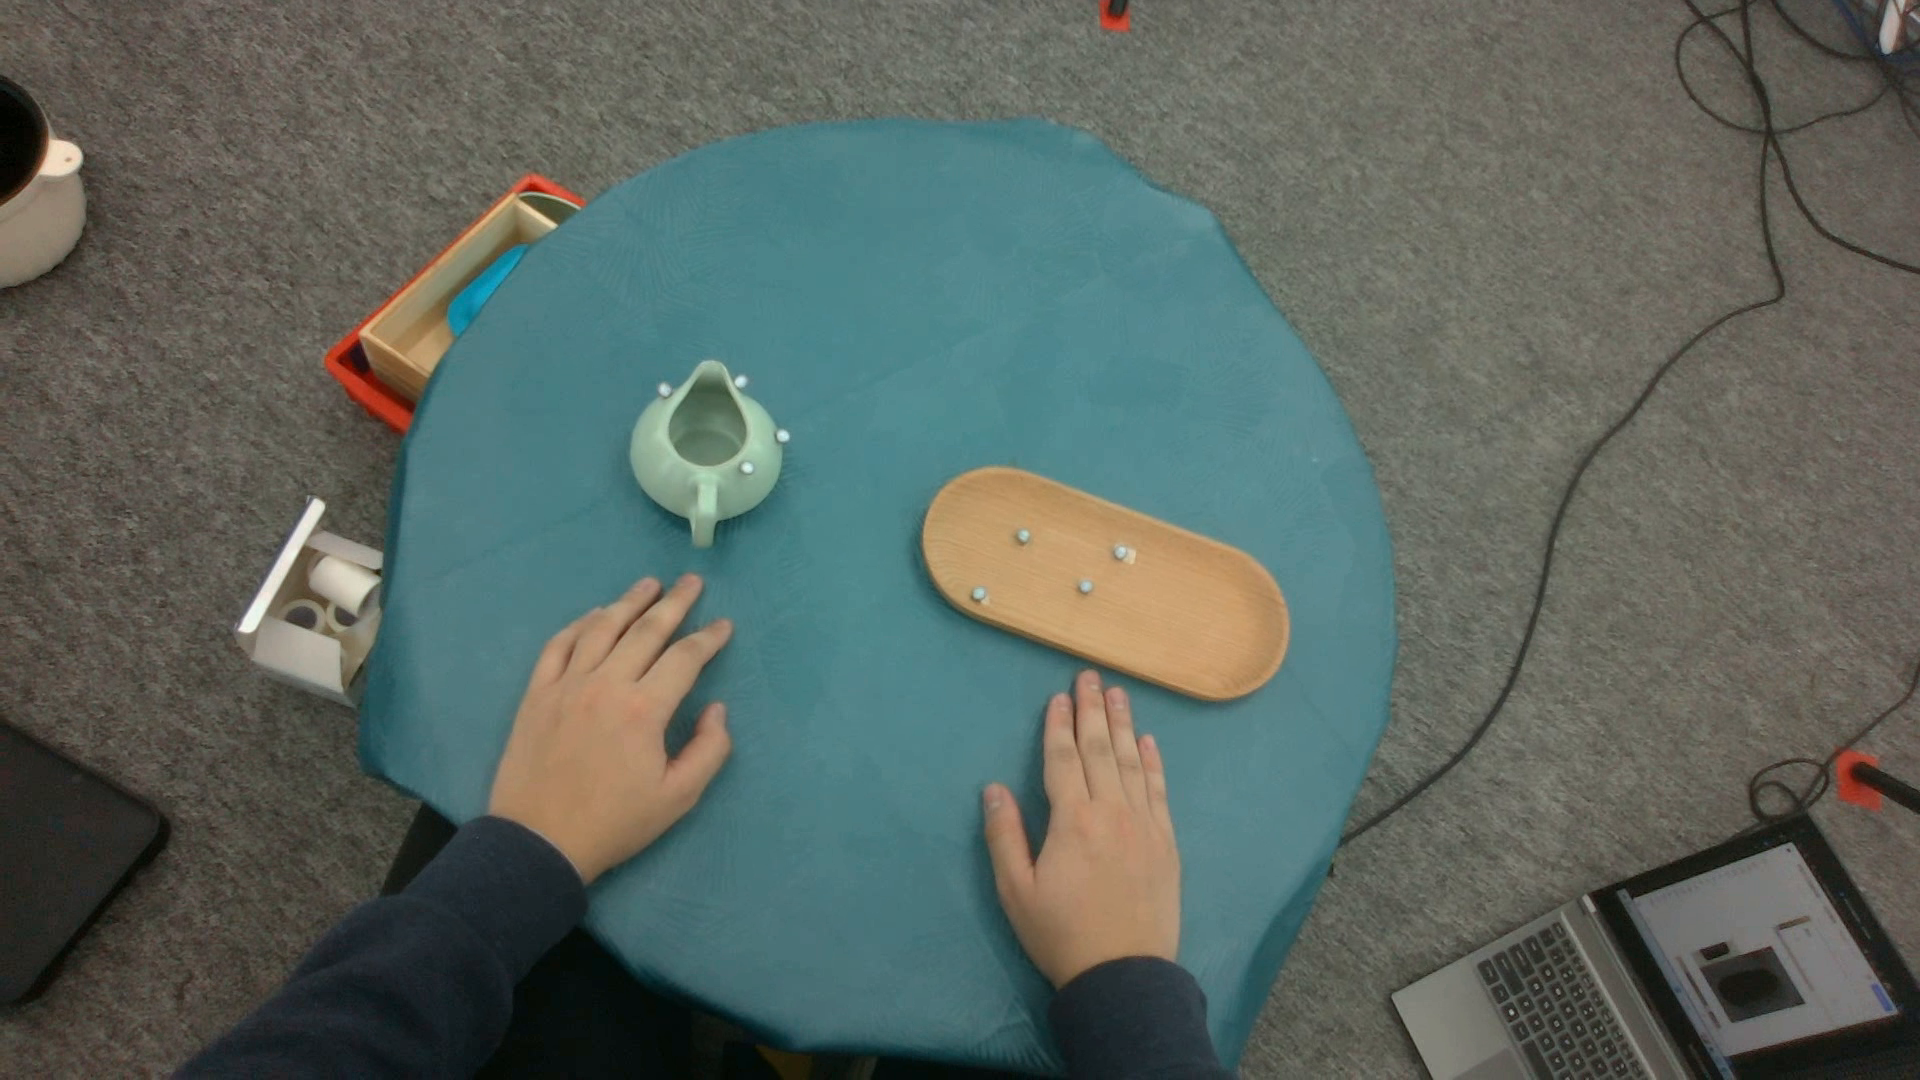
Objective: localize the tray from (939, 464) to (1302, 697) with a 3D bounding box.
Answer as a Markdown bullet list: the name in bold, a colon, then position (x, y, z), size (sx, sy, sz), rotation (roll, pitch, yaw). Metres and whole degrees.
- **tray**: position (0.098, 0.025, 0.837), size (0.231, 0.020, 0.102), rotation (20, 66, -4)

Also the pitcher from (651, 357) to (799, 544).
- **pitcher**: position (-0.136, -0.047, 0.800), size (0.086, 0.060, 0.108), rotation (0, 70, -10)
